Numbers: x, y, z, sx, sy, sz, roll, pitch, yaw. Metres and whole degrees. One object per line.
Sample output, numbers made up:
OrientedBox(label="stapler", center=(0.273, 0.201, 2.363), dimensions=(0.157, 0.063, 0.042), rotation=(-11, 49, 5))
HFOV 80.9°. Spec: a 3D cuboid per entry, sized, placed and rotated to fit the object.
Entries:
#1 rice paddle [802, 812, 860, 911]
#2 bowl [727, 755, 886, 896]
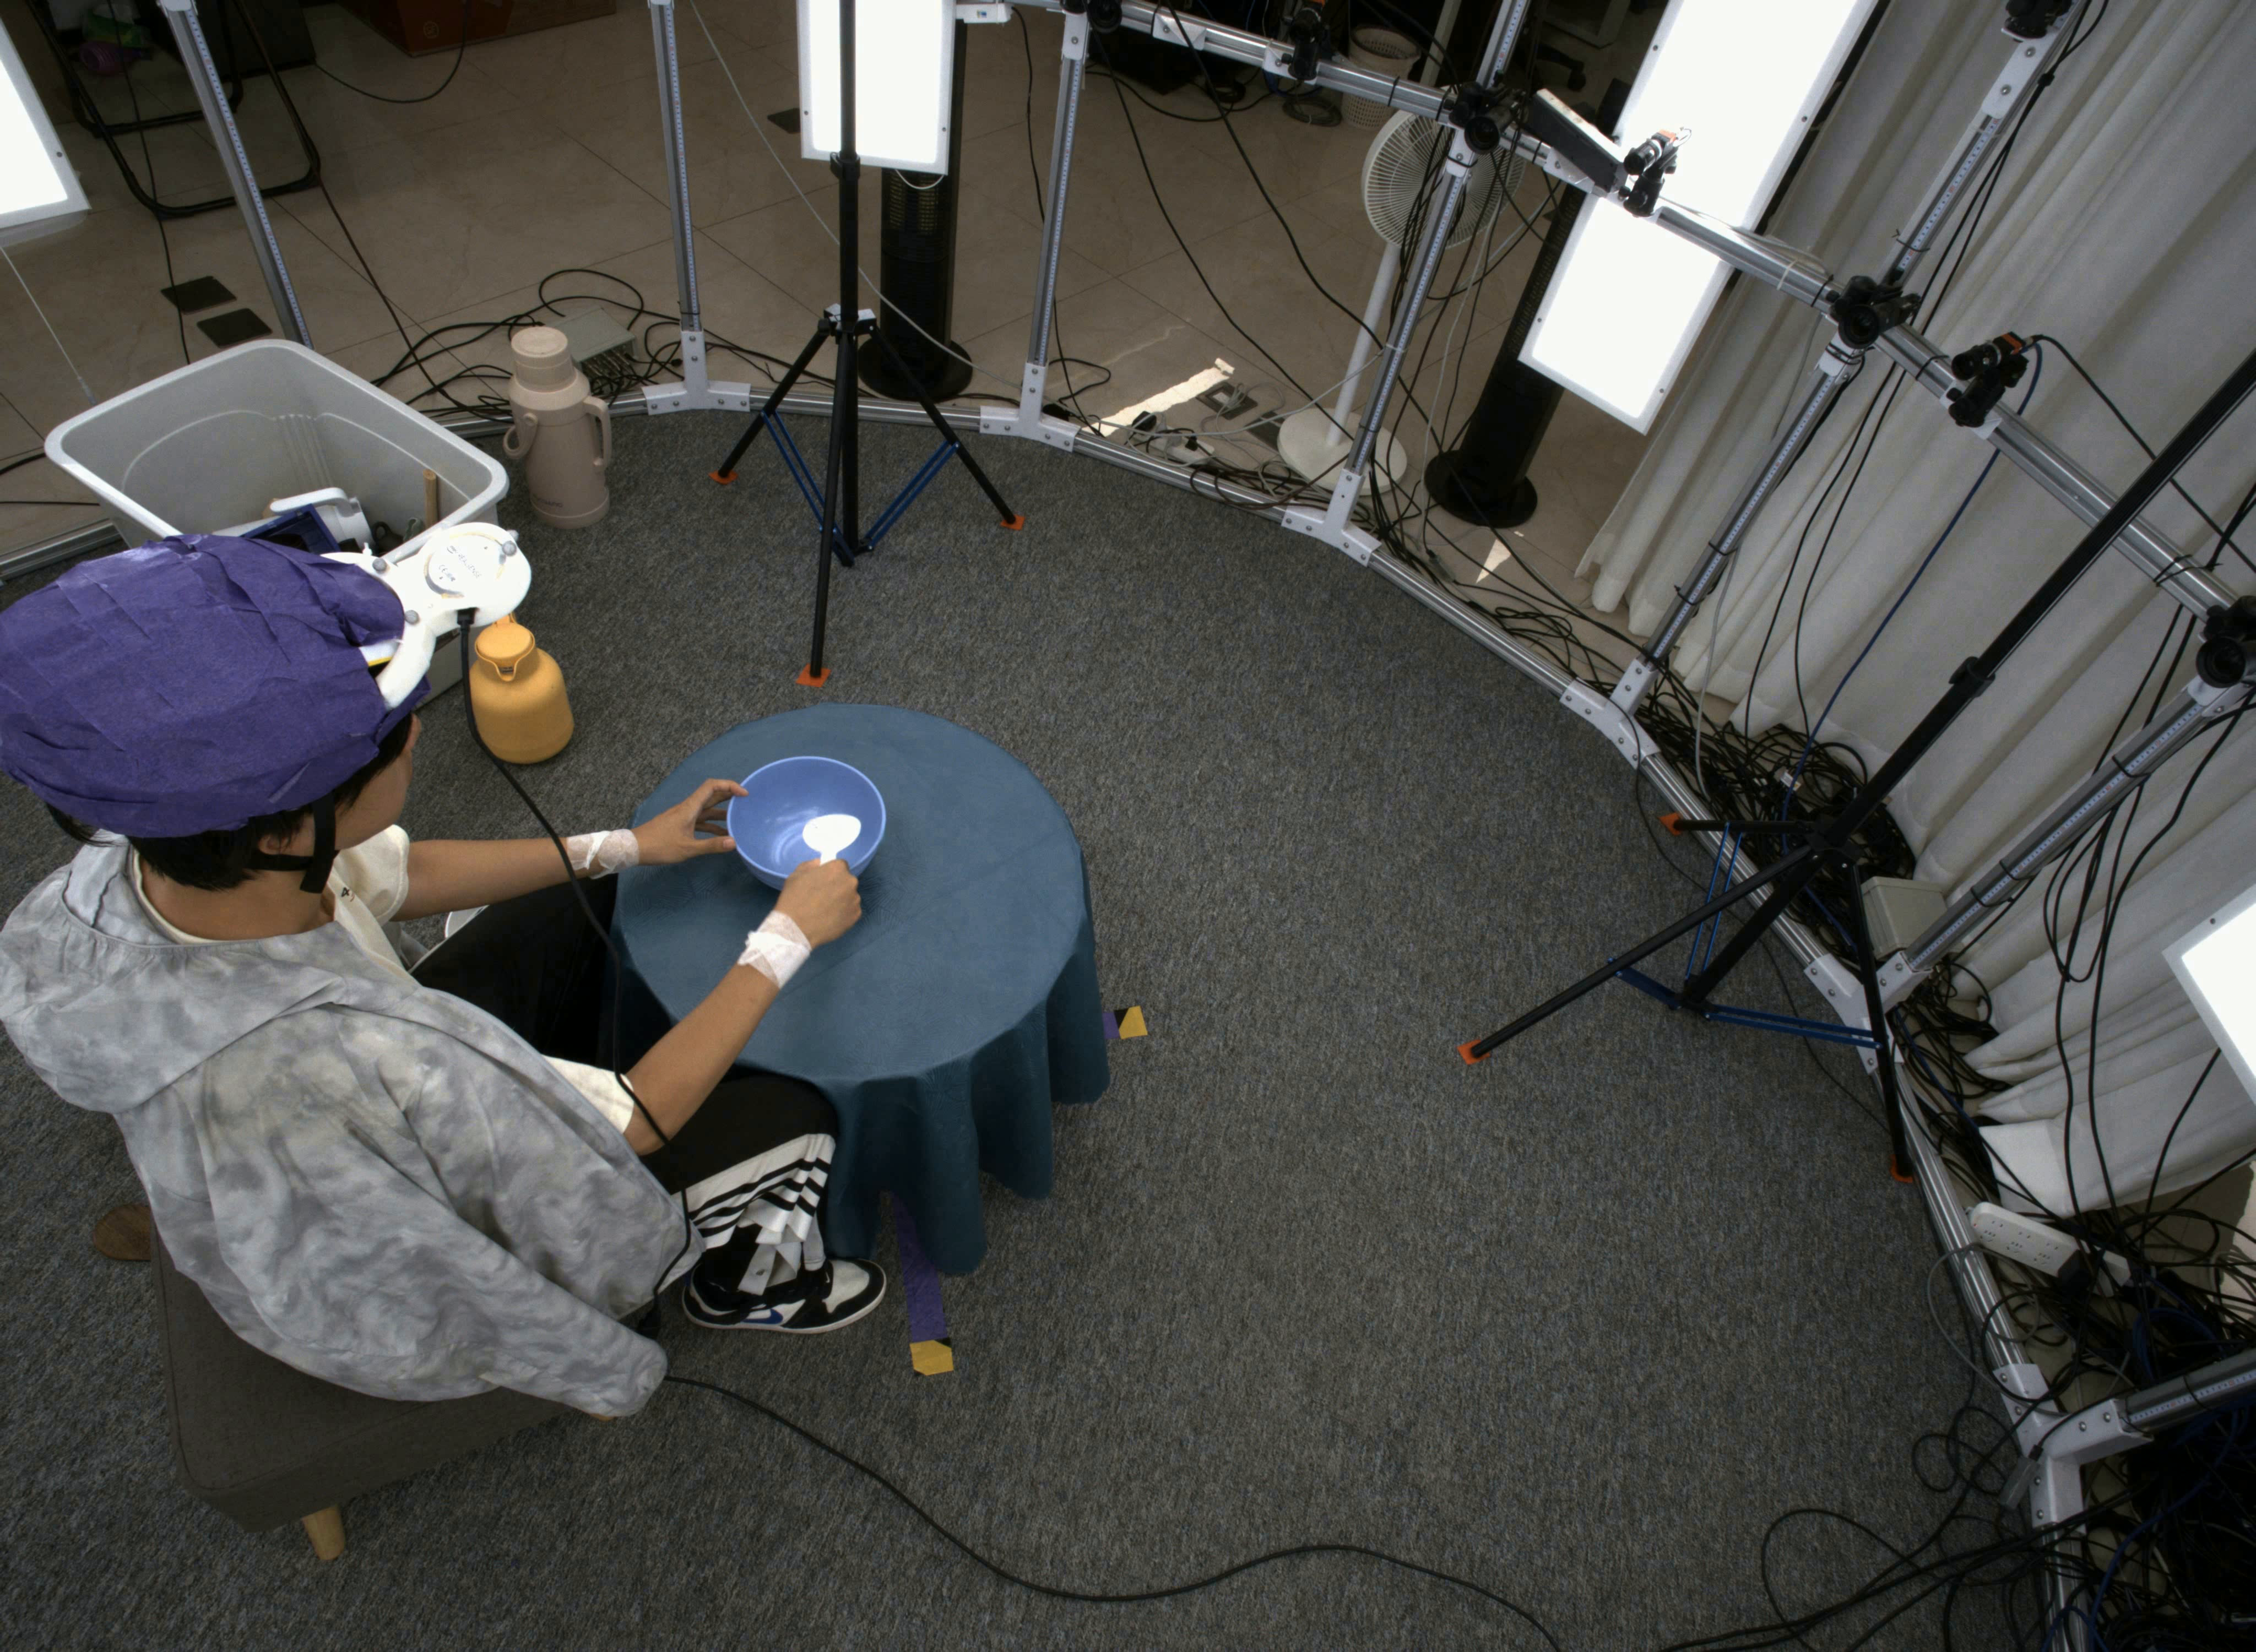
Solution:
OrientedBox(label="rice paddle", center=(-0.349, 0.030, 1.510), dimensions=(0.068, 0.030, 0.199), rotation=(-1, 30, -9))
OrientedBox(label="bowl", center=(-0.409, 0.014, 1.657), dimensions=(0.196, 0.097, 0.193), rotation=(8, 51, -9))
